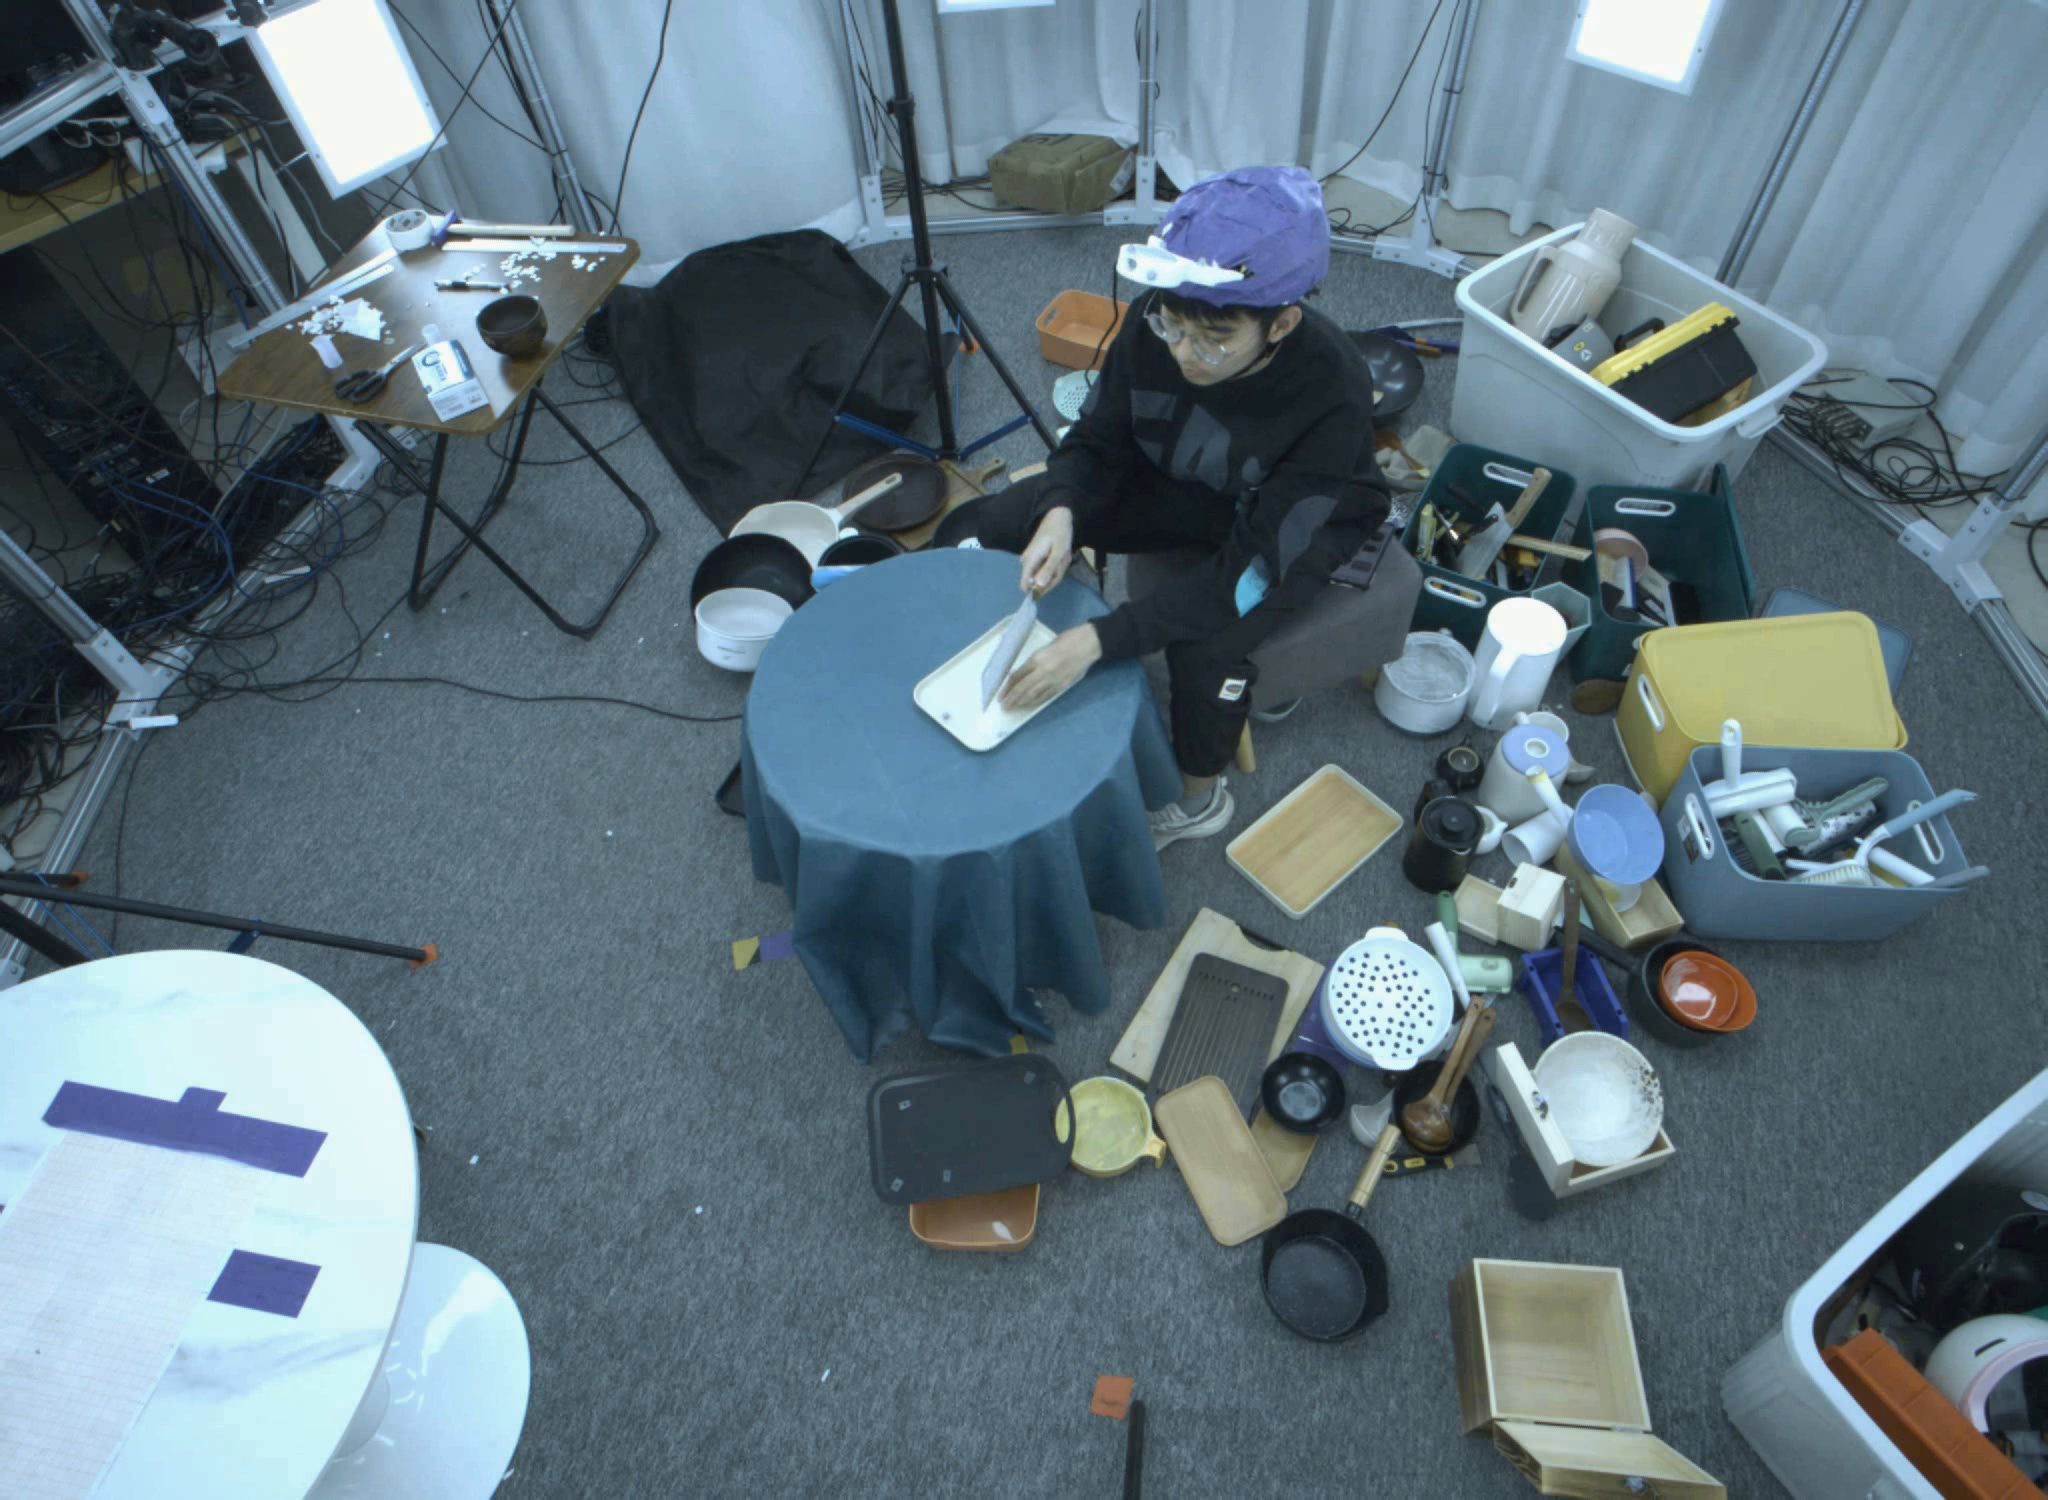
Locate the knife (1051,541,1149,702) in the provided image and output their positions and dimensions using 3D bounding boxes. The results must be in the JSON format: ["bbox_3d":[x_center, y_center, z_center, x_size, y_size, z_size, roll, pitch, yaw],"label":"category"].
[{"bbox_3d":[0.111,-0.187,1.808,0.021,0.094,0.306,23,56,17],"label":"knife"}]

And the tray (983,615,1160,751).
[{"bbox_3d":[0.072,-0.102,1.844,0.241,0.018,0.168,-34,59,-20],"label":"tray"}]
